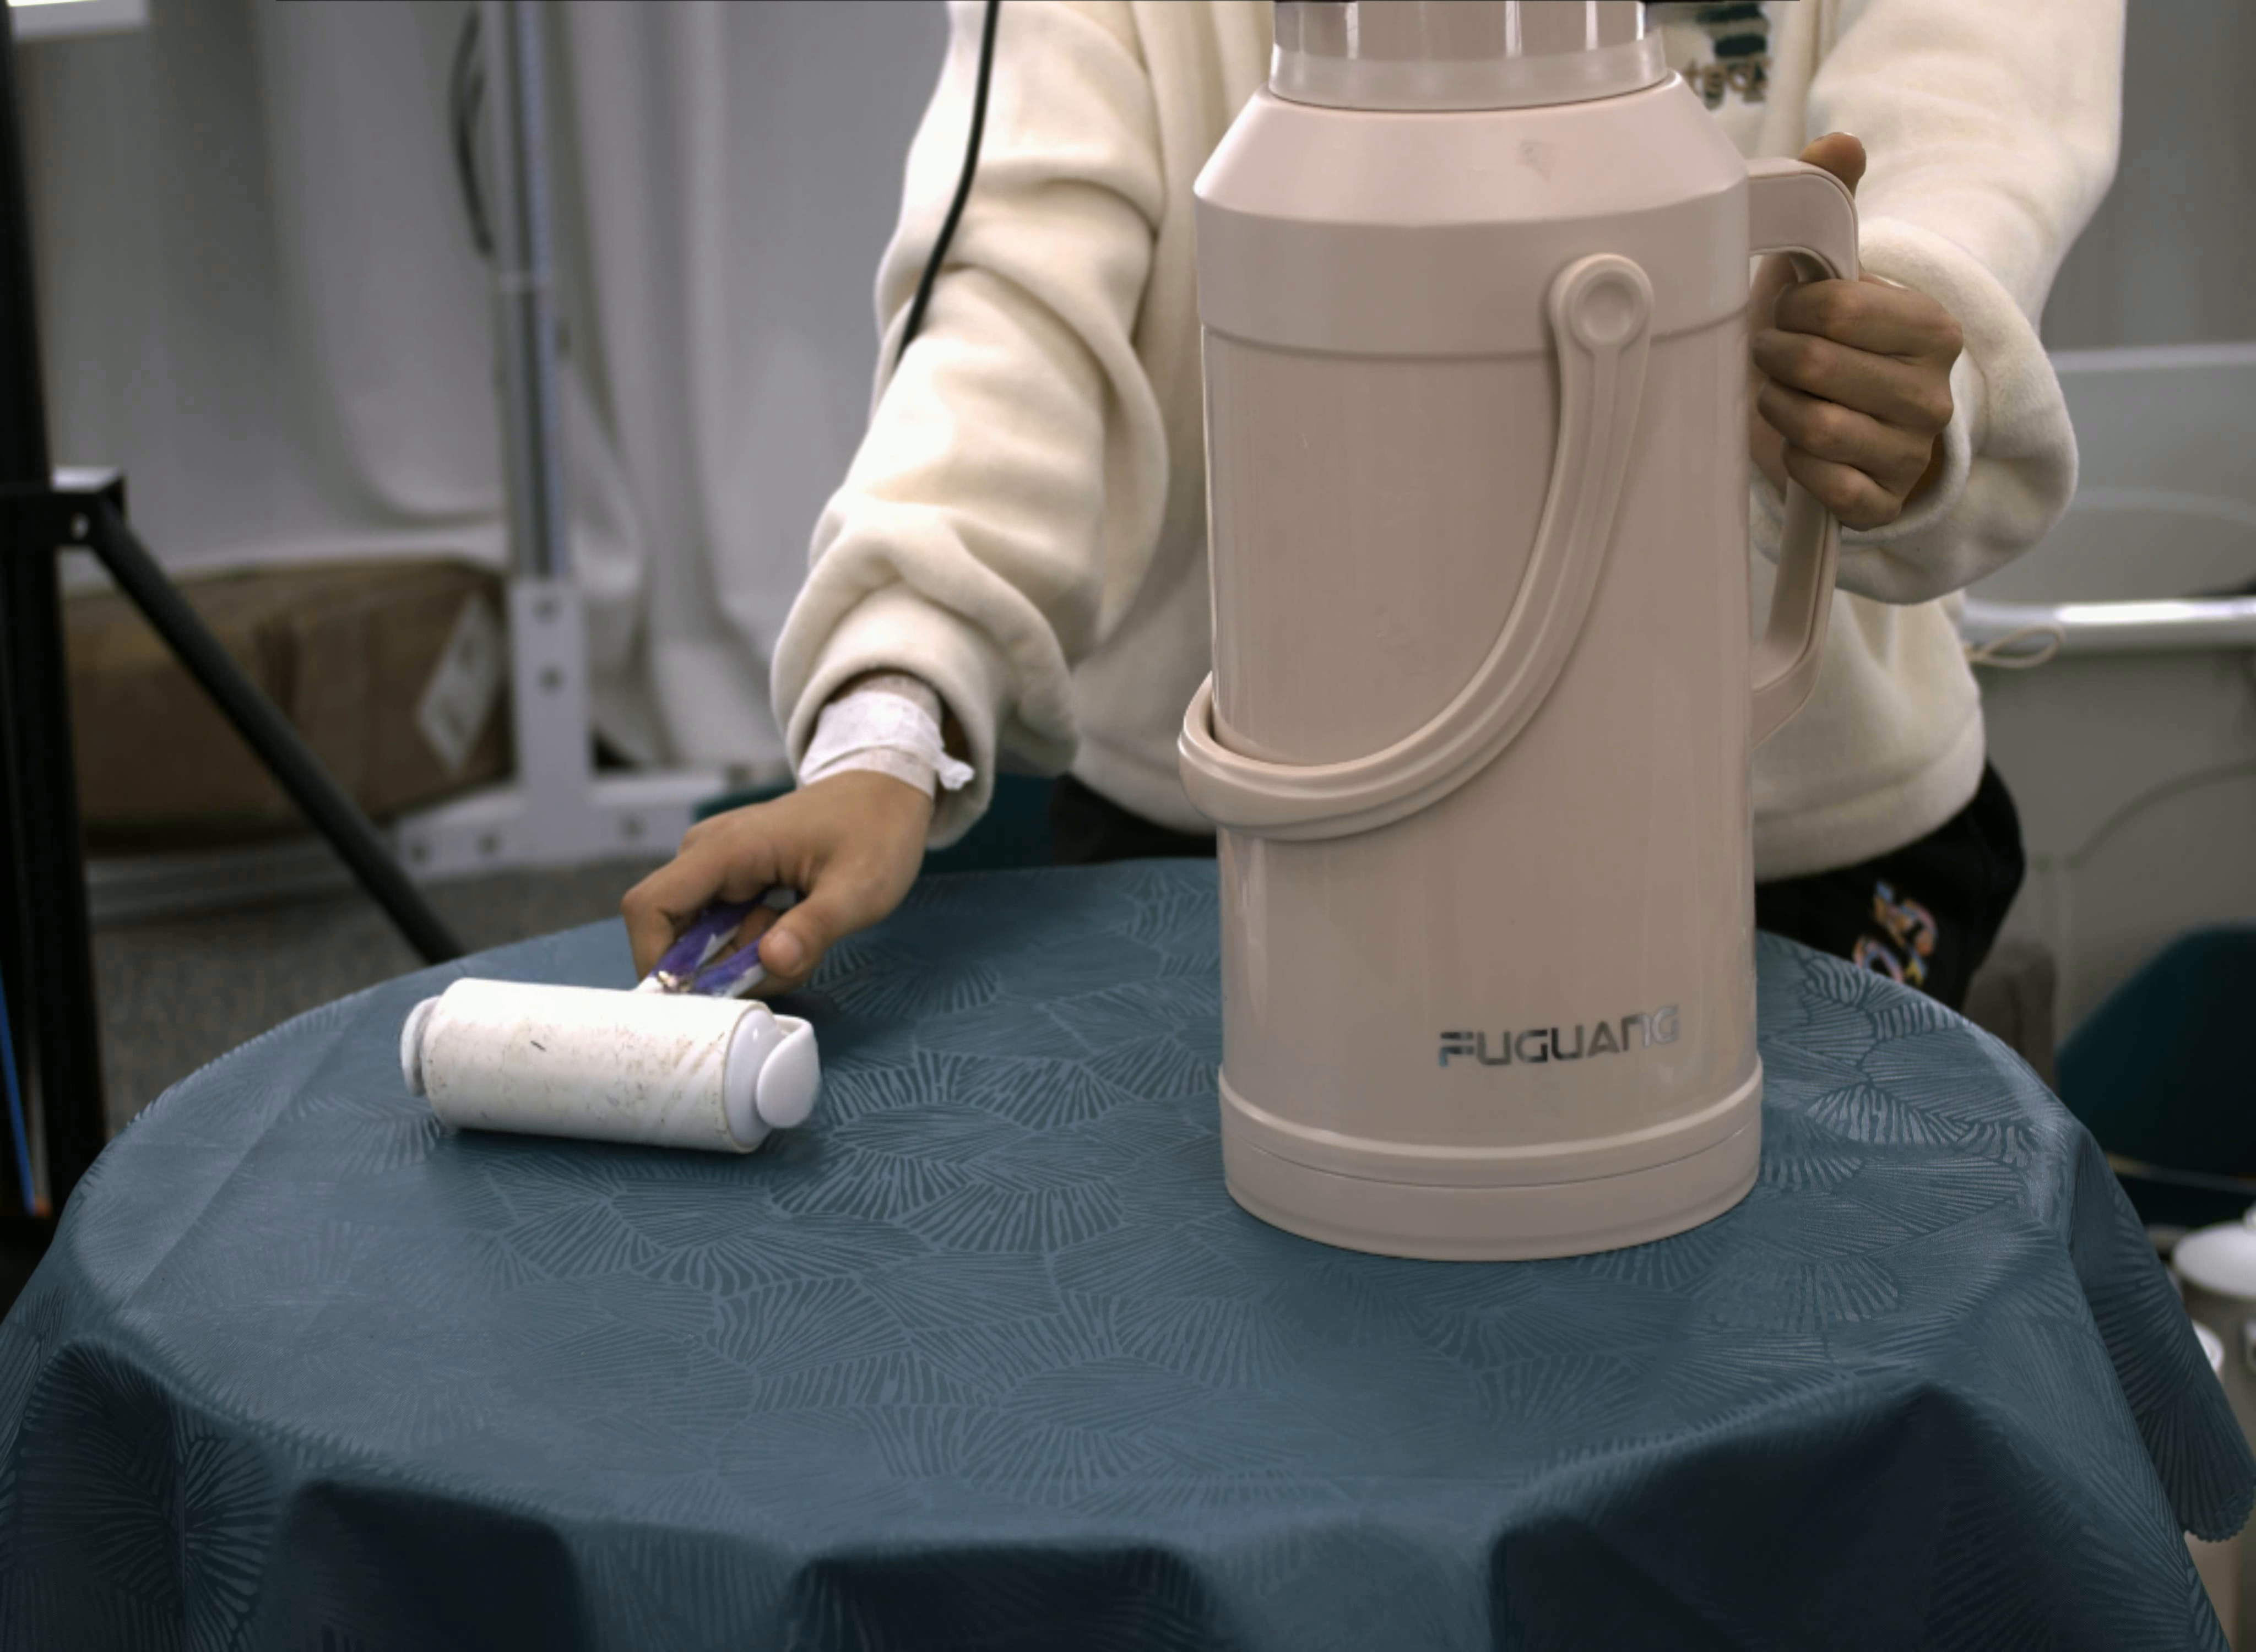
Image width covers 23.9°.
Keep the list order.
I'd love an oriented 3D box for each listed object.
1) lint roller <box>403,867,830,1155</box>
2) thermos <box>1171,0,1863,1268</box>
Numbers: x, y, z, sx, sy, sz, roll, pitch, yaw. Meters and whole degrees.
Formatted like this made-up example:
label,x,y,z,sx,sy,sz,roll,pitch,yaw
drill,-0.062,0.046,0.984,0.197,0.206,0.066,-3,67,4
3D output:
label,x,y,z,sx,sy,sz,roll,pitch,yaw
lint roller,-0.135,0.043,1.676,0.135,0.050,0.179,3,30,23
thermos,0.113,-0.090,1.513,0.203,0.406,0.178,-7,15,-19
